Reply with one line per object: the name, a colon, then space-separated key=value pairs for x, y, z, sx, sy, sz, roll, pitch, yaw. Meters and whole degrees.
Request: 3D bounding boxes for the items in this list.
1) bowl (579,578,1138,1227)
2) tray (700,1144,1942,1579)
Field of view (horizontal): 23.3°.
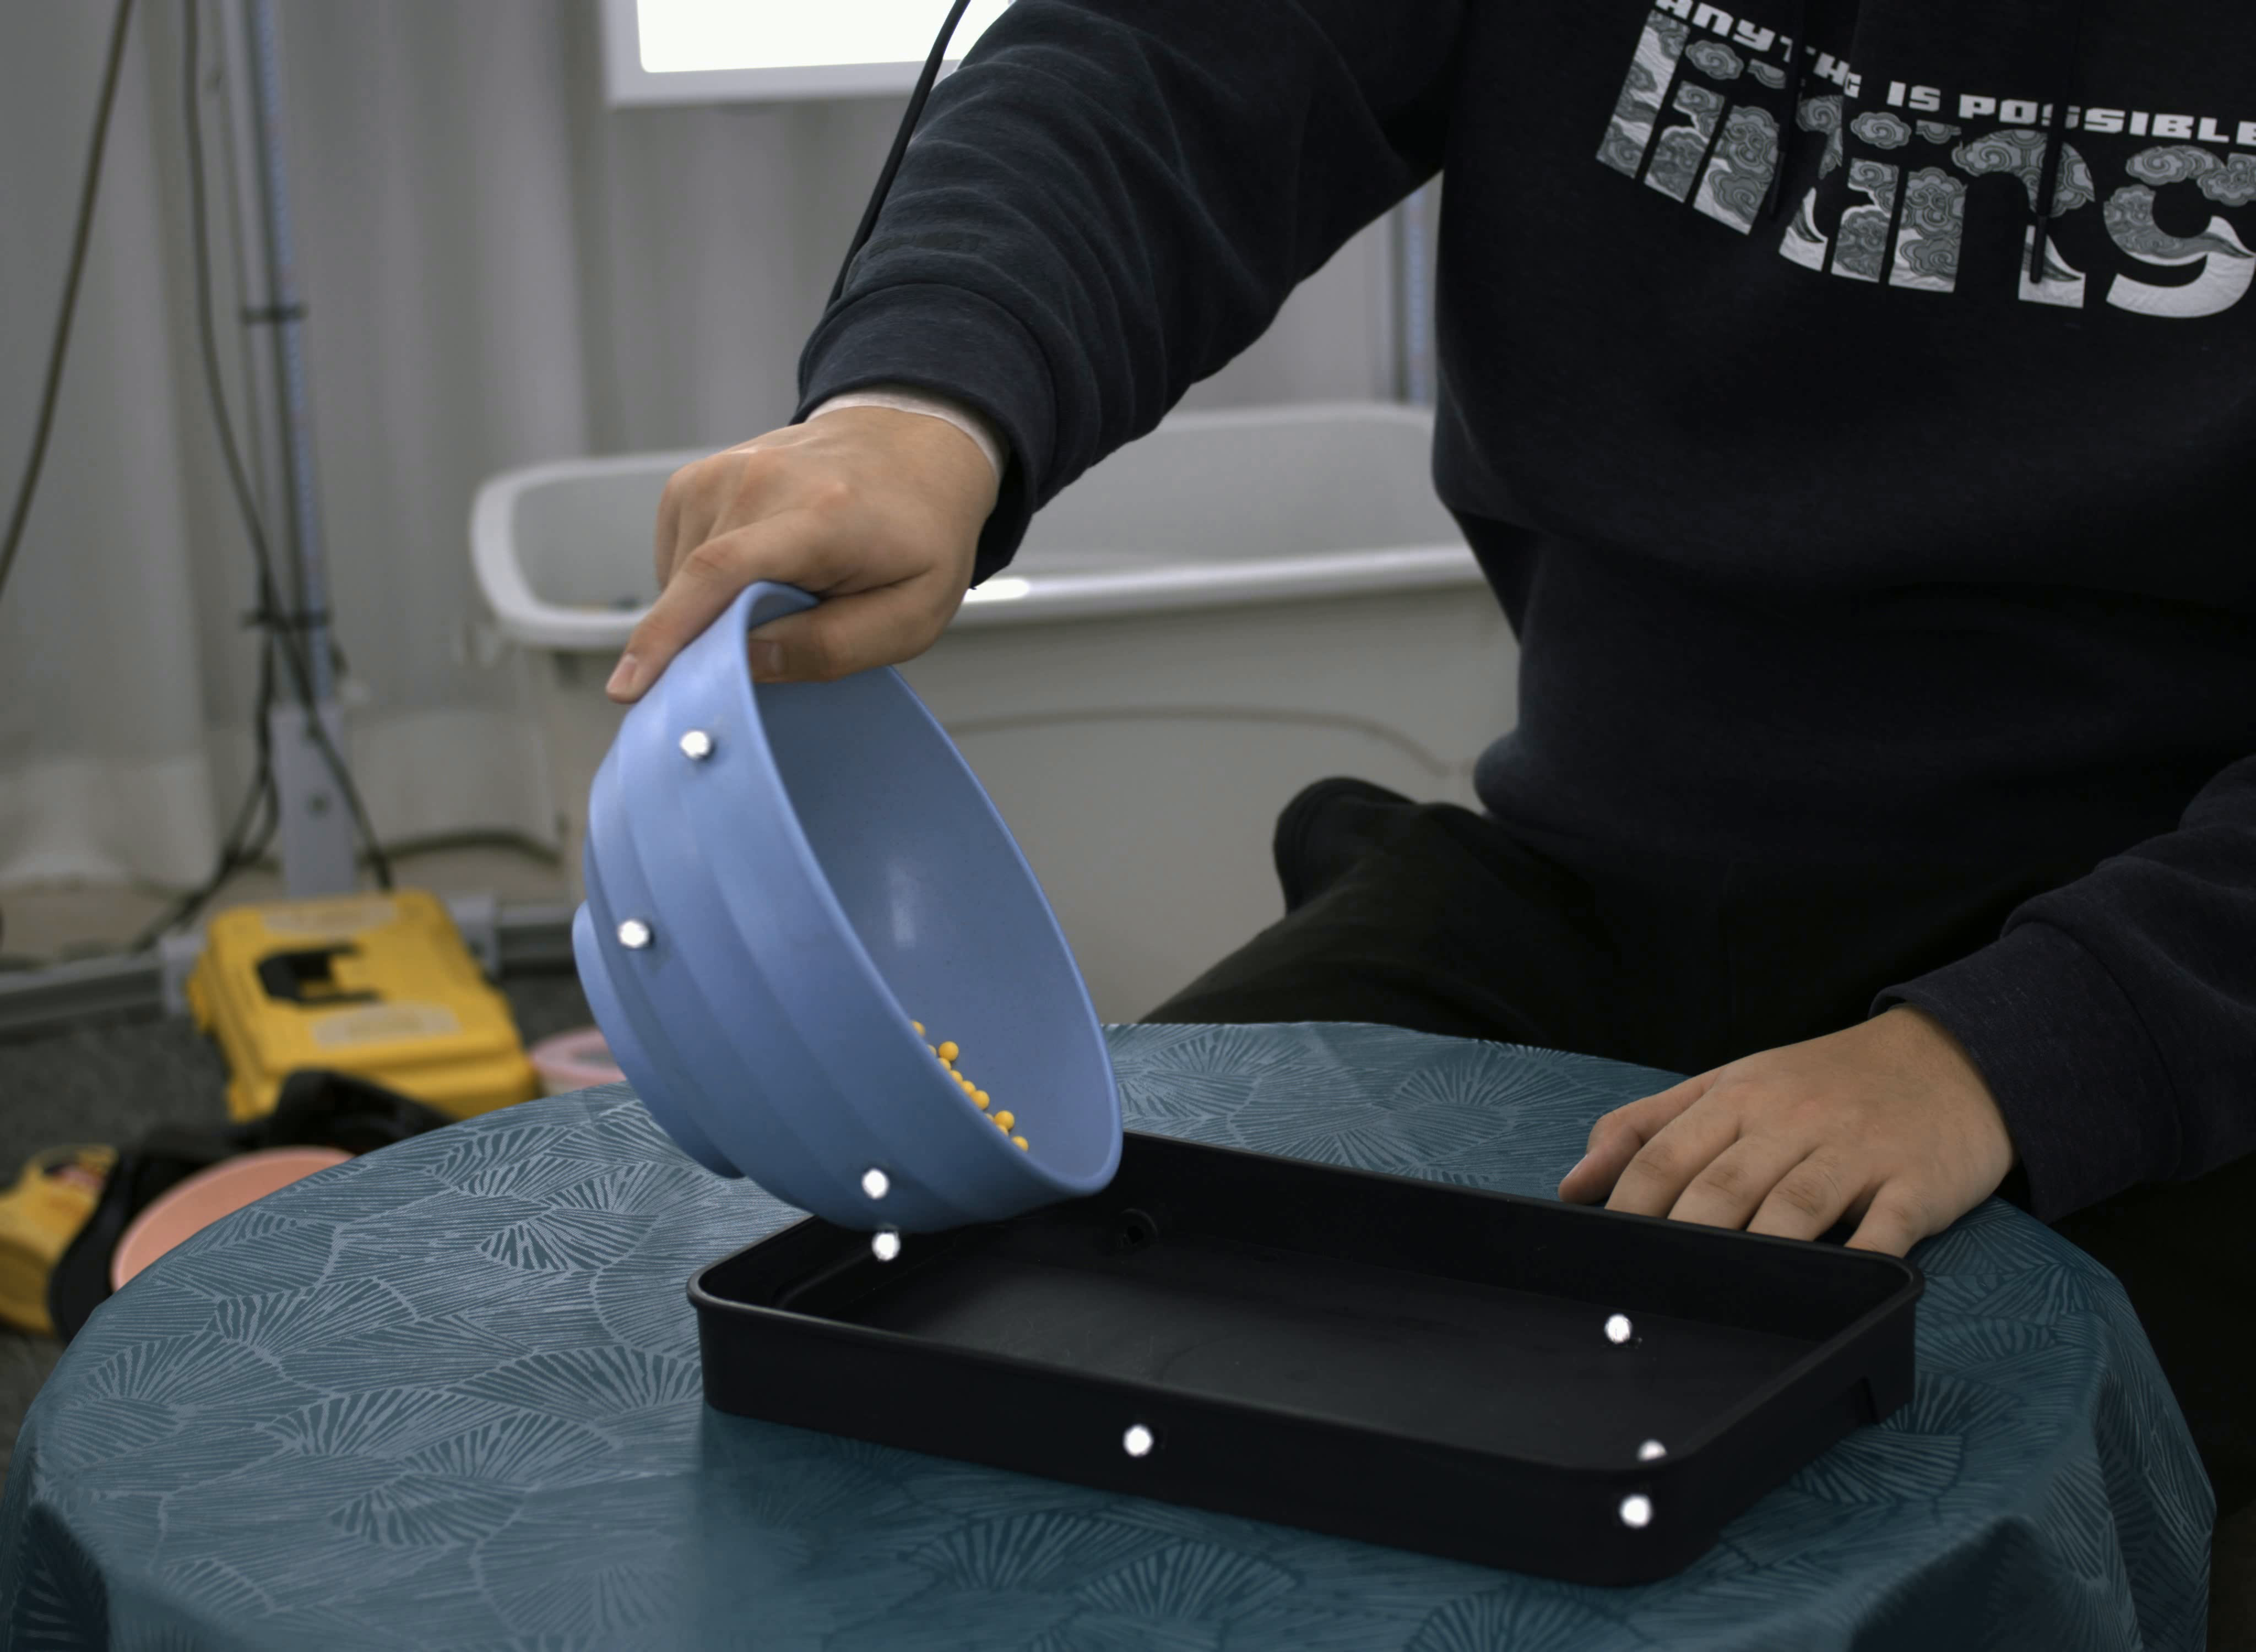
bowl: x=-0.091 y=0.037 z=1.552 sx=0.095 sy=0.196 sz=0.197 roll=-32 pitch=7 yaw=16
tray: x=0.053 y=0.144 z=1.534 sx=0.319 sy=0.037 sz=0.184 roll=5 pitch=16 yaw=31
